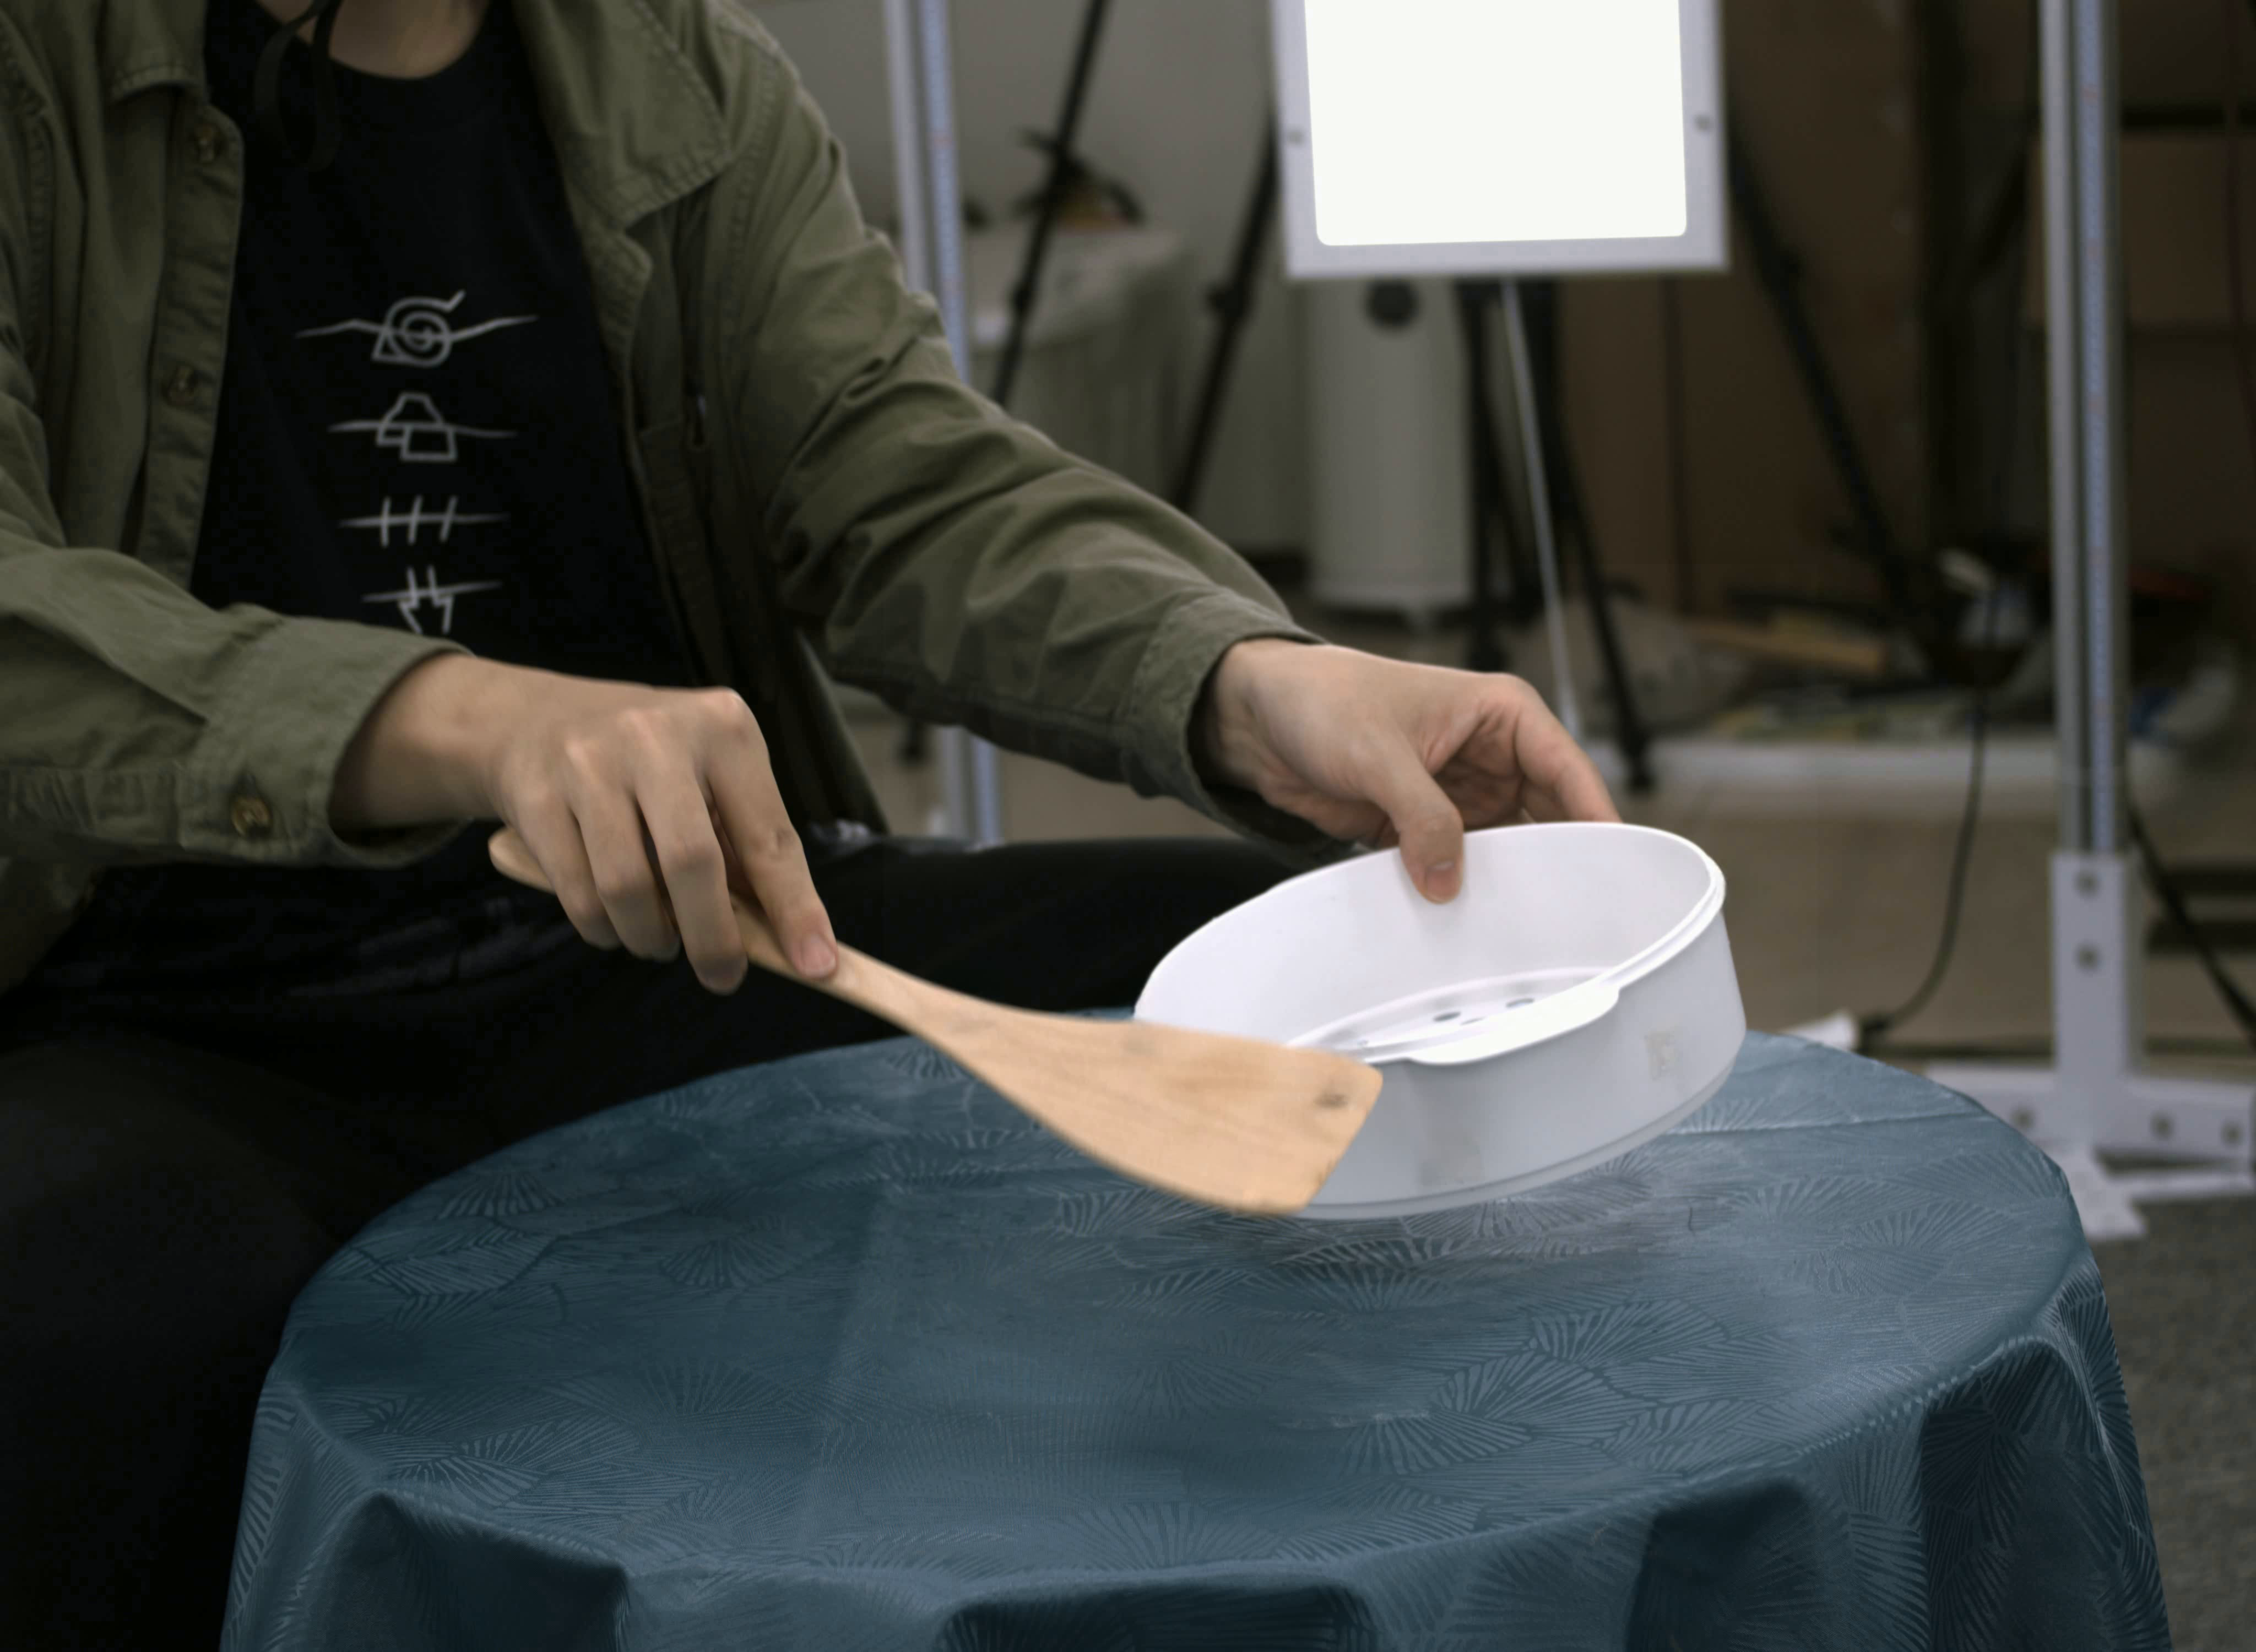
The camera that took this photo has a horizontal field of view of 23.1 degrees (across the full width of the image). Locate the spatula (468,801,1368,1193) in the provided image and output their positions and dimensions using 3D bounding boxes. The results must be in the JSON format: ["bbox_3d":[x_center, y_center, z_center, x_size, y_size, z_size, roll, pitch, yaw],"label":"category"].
[{"bbox_3d":[-0.072,0.044,1.710,0.333,0.016,0.078,20,41,28],"label":"spatula"}]

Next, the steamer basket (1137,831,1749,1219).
[{"bbox_3d":[0.107,0.066,1.823,0.200,0.069,0.232,-17,16,-9],"label":"steamer basket"}]
